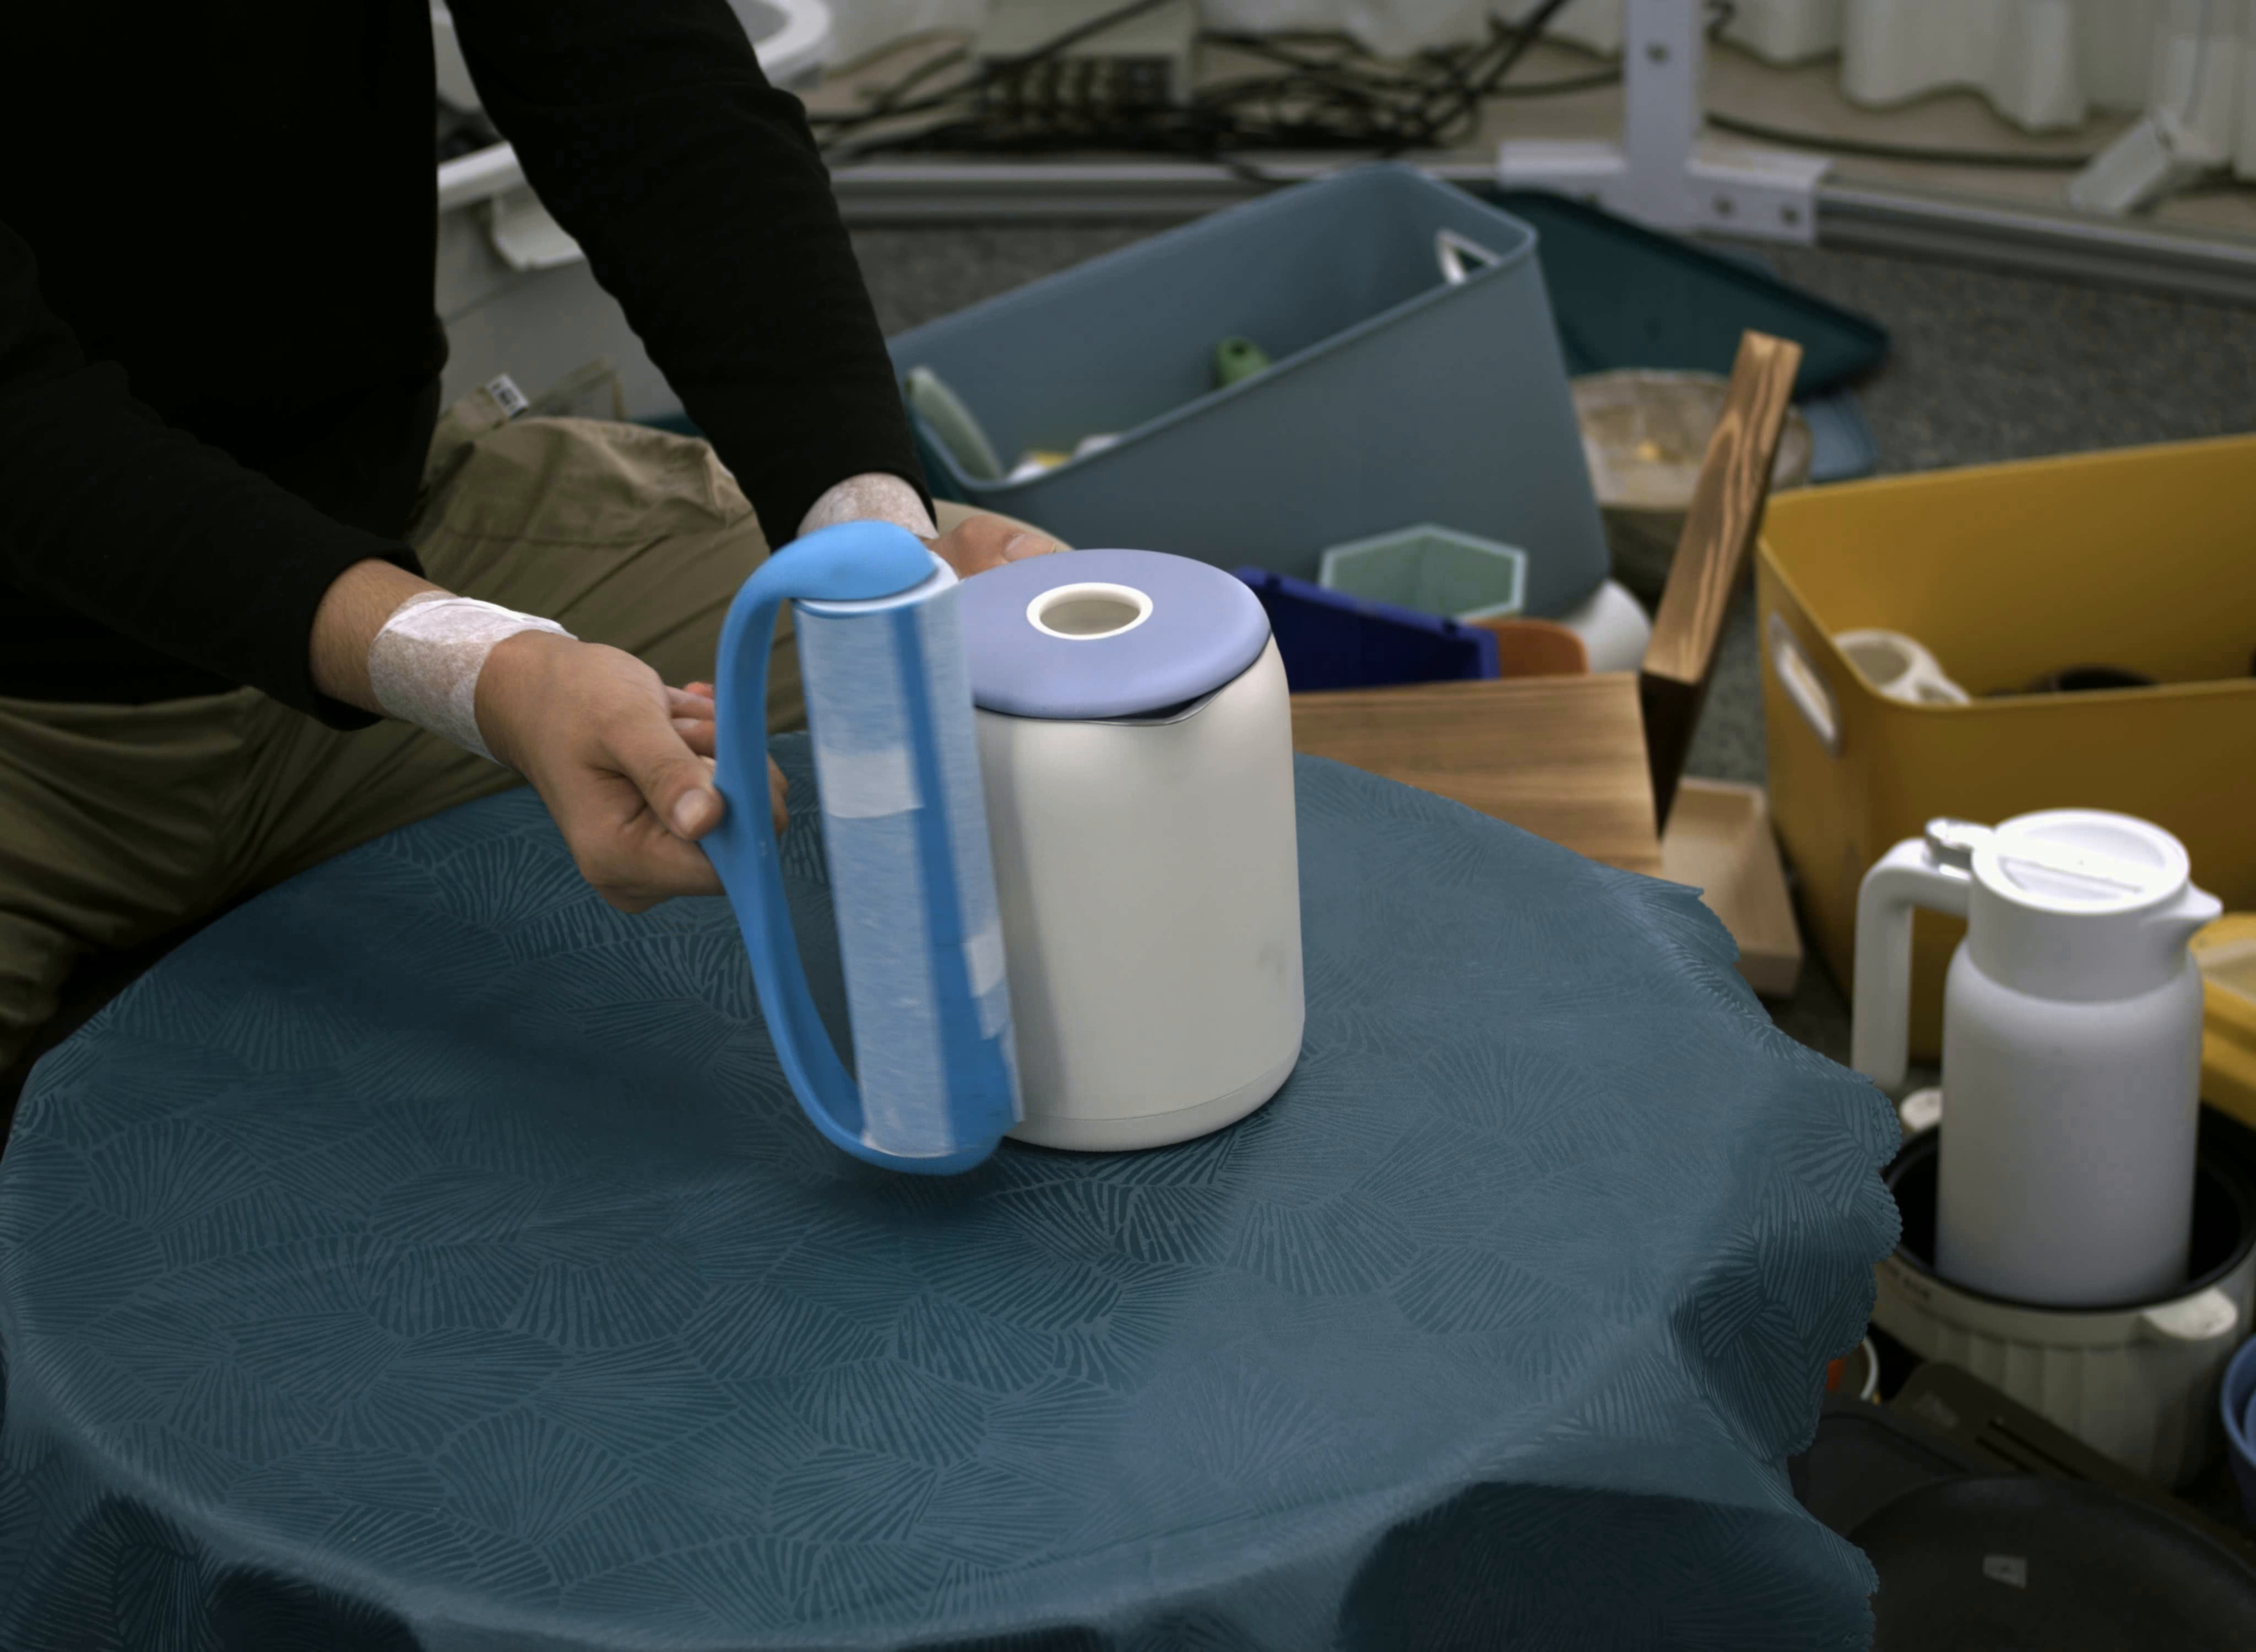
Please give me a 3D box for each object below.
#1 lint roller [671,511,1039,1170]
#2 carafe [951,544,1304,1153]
[{"bbox_3d":[-0.108,-0.003,1.862,0.069,0.227,0.179,-26,27,-37],"label":"lint roller"},{"bbox_3d":[-0.019,-0.002,1.918,0.133,0.181,0.192,-14,26,-22],"label":"carafe"}]
